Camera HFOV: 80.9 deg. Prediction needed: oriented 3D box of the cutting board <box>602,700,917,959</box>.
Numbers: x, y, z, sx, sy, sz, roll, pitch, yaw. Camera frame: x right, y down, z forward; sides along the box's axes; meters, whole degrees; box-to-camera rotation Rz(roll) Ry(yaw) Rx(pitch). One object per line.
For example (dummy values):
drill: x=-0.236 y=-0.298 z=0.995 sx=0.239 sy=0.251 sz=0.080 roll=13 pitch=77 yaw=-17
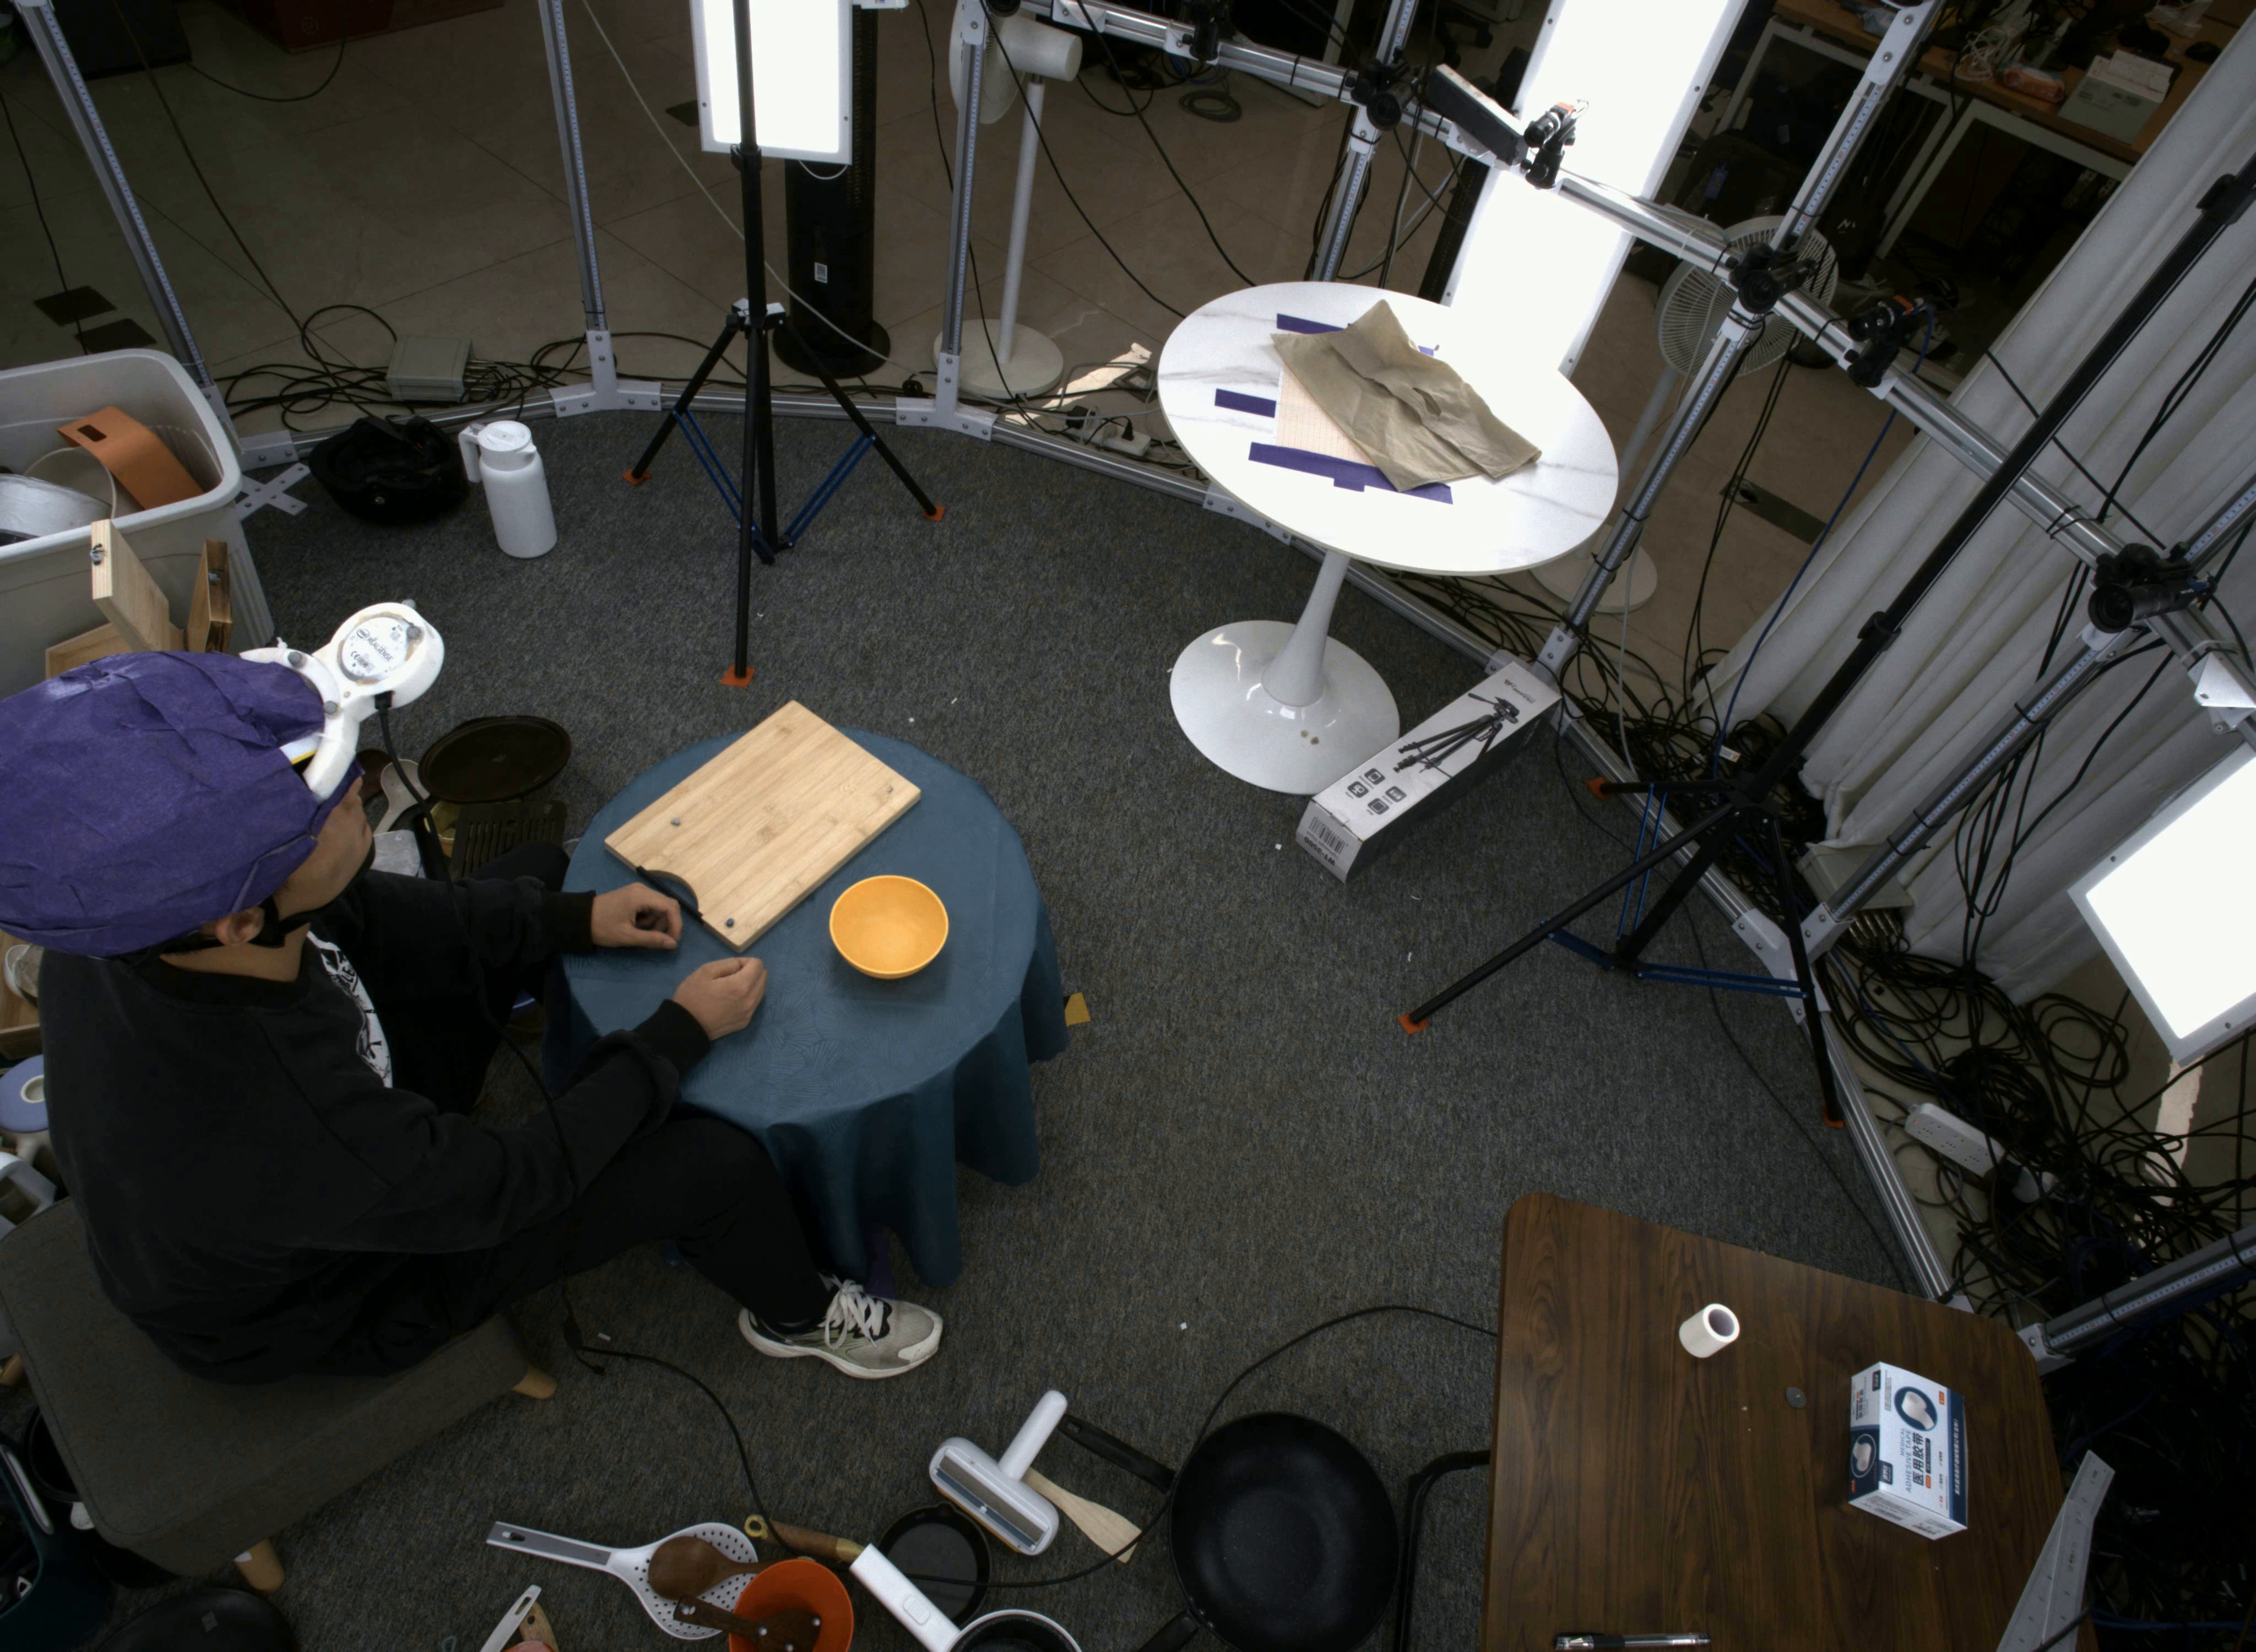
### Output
cutting board: x=-0.480 y=-0.008 z=1.710 sx=0.246 sy=0.024 sz=0.348 roll=34 pitch=53 yaw=12

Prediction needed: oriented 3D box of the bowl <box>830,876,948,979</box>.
bowl: x=-0.297 y=0.136 z=1.624 sx=0.144 sy=0.061 sz=0.143 roll=6 pitch=52 yaw=-6
